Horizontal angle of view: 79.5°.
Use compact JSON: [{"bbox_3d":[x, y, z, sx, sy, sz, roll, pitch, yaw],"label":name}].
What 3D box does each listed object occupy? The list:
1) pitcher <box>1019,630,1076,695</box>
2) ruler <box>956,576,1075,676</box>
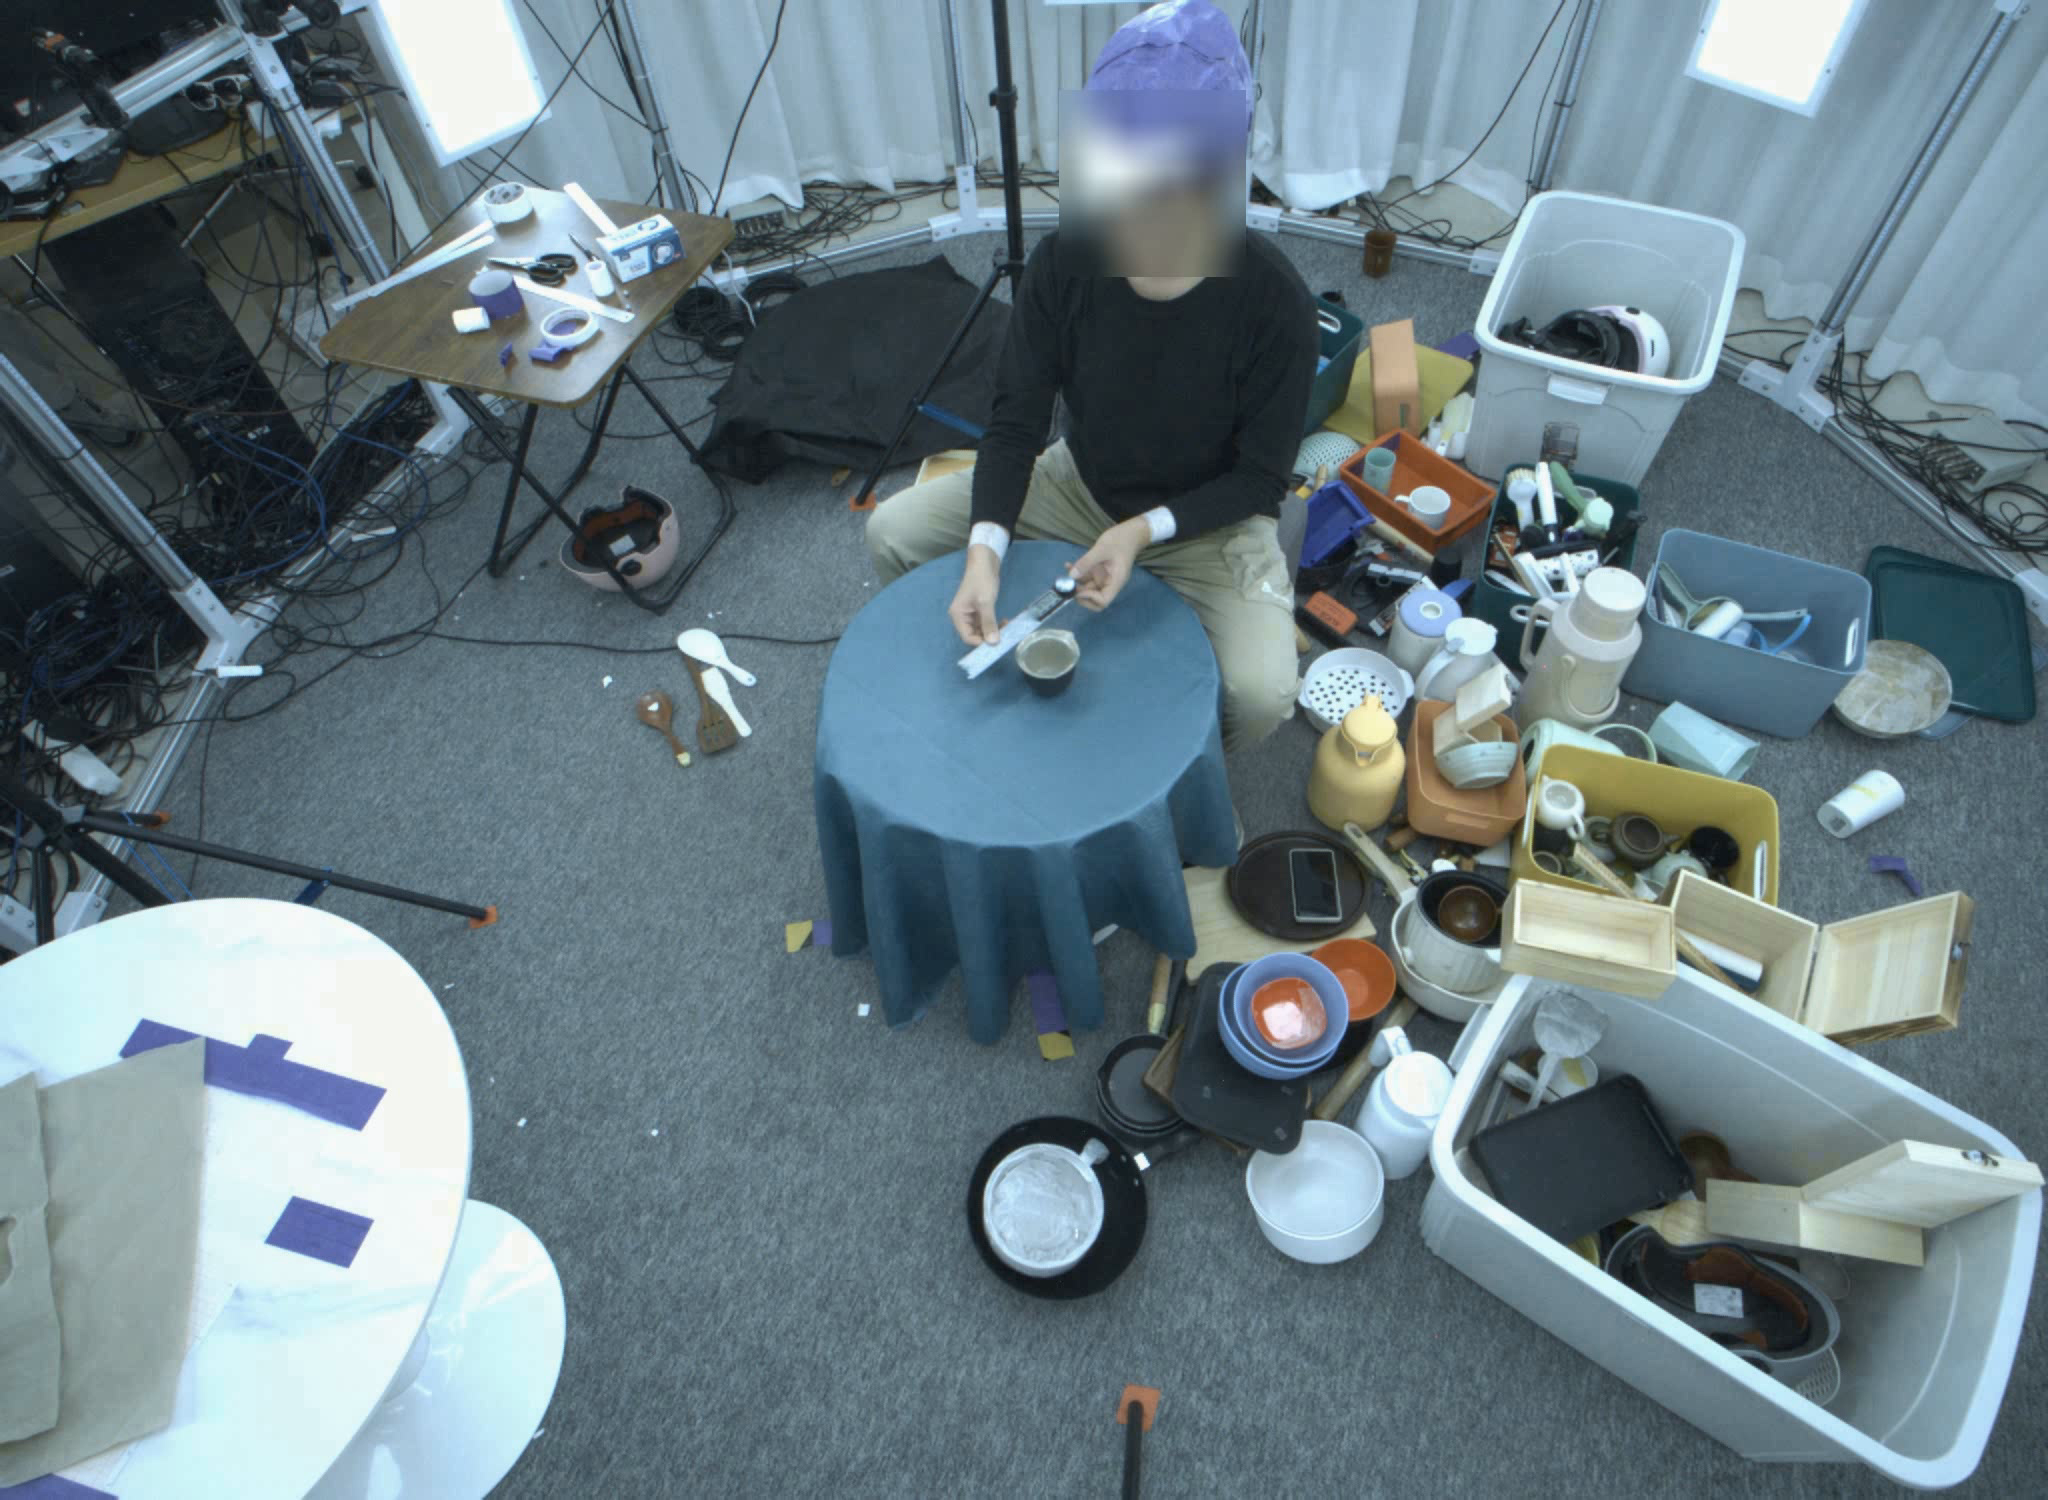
[{"bbox_3d":[0.039,-0.126,1.831,0.082,0.072,0.096,33,63,24],"label":"pitcher"},{"bbox_3d":[-0.009,-0.188,1.819,0.219,0.024,0.037,-39,61,-19],"label":"ruler"}]
